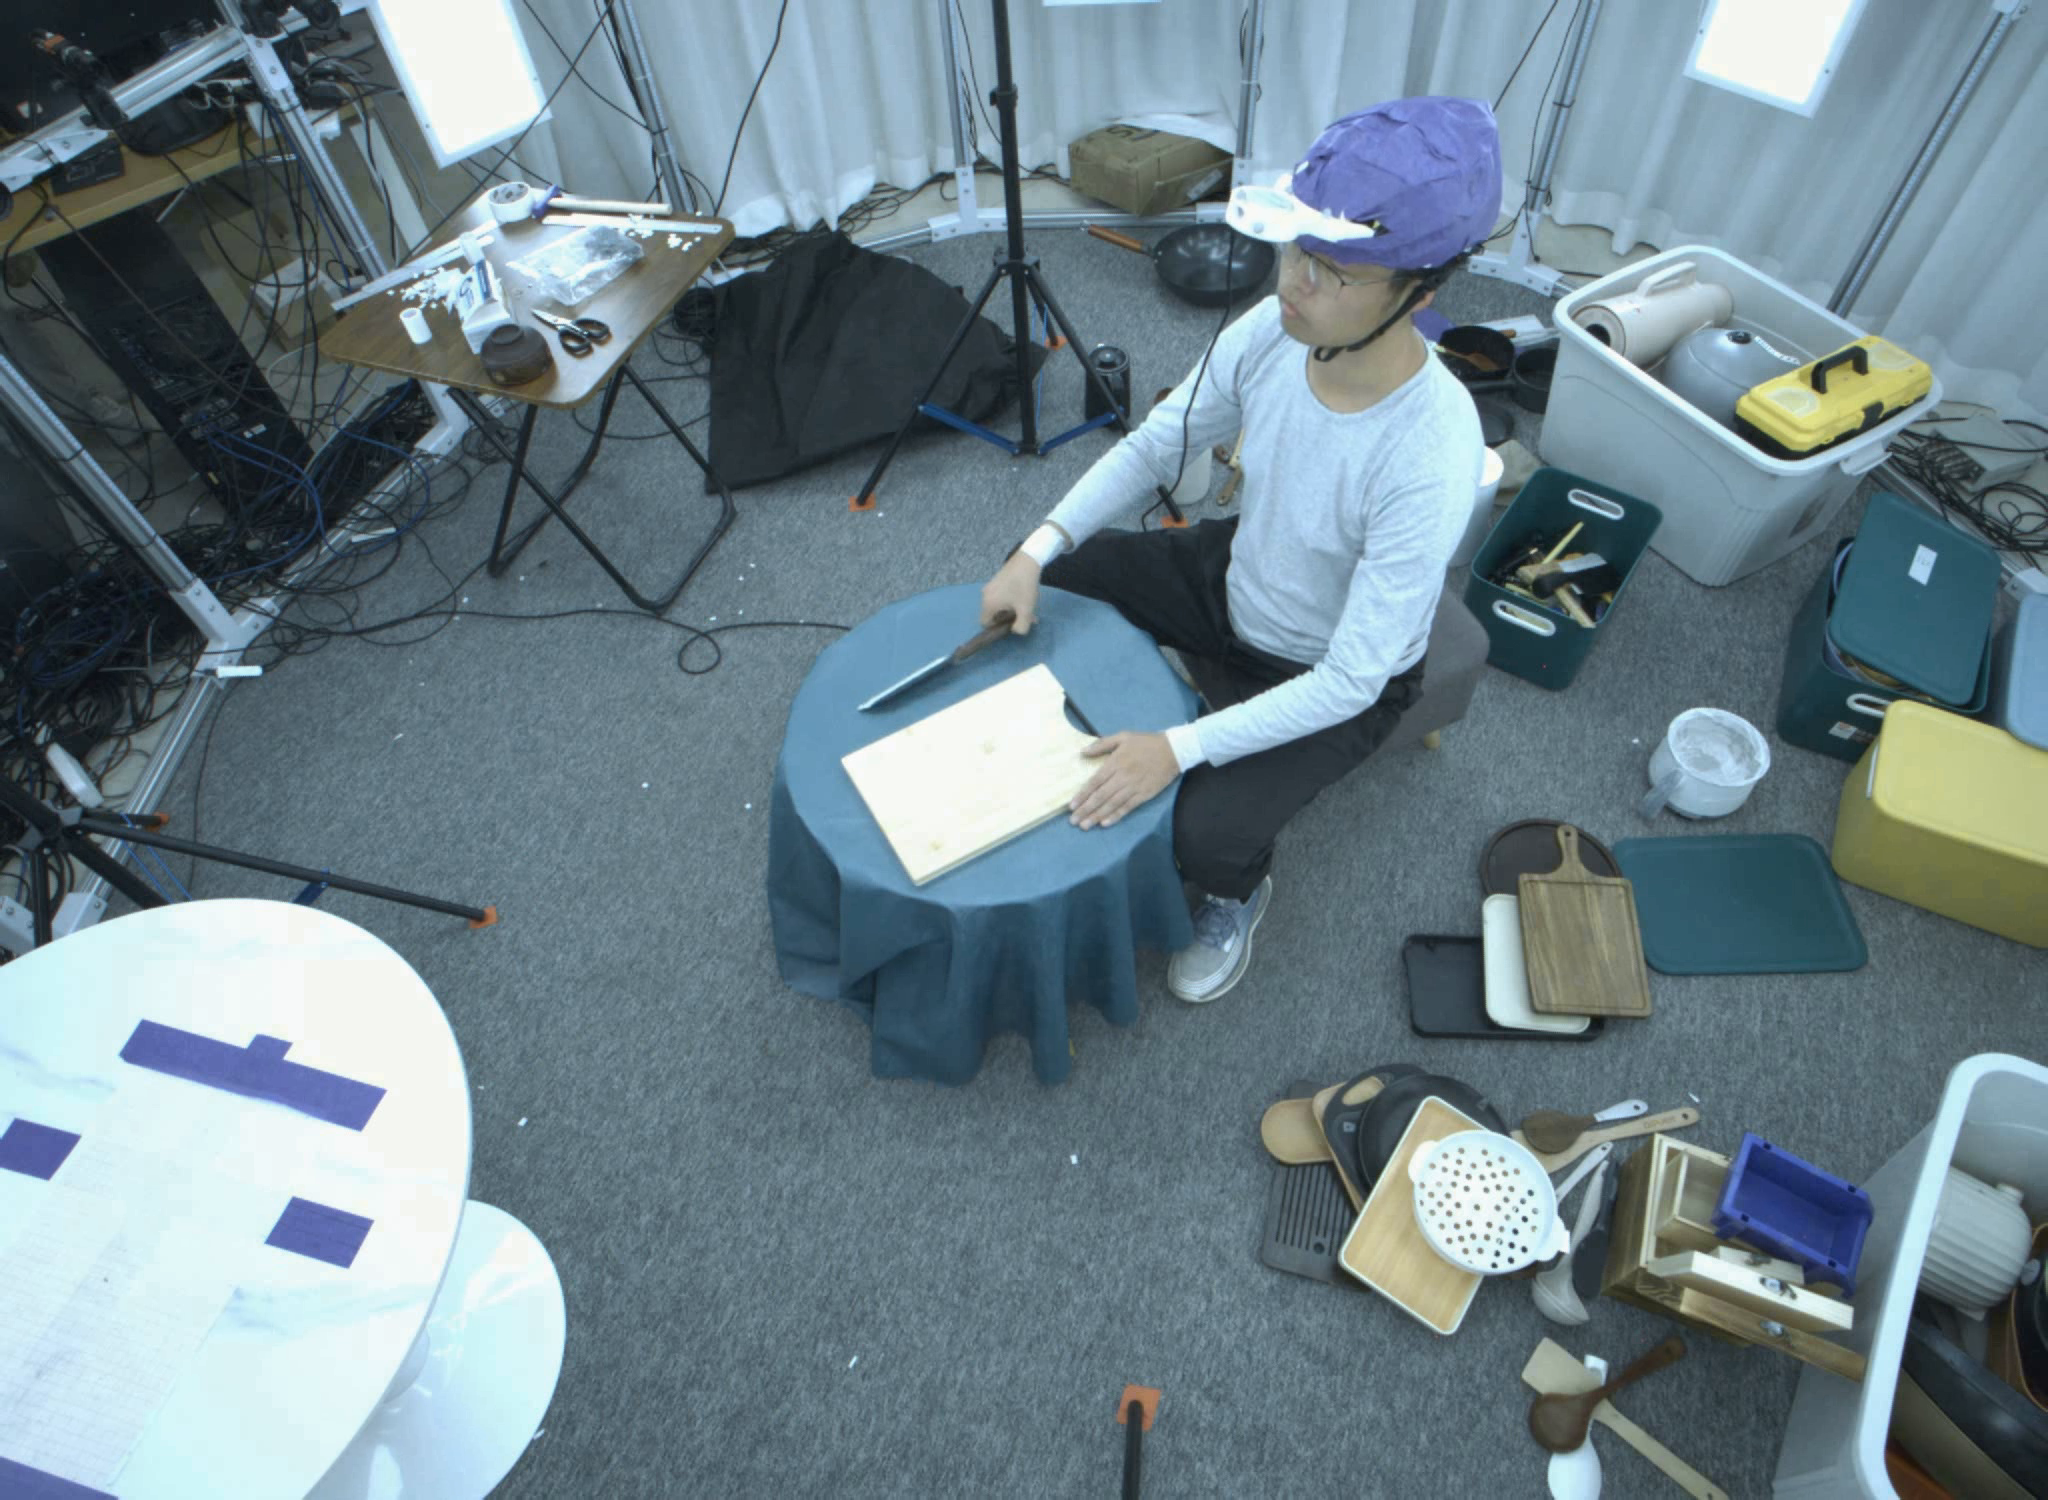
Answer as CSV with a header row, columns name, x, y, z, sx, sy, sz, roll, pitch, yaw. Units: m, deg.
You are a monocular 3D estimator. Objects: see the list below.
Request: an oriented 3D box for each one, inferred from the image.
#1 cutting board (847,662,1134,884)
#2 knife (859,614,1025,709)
name,x,y,z,sx,sy,sz,roll,pitch,yaw
cutting board,-0.054,0.024,1.769,0.351,0.024,0.246,-27,58,-17
knife,-0.125,-0.133,1.870,0.291,0.020,0.049,-30,20,-13
